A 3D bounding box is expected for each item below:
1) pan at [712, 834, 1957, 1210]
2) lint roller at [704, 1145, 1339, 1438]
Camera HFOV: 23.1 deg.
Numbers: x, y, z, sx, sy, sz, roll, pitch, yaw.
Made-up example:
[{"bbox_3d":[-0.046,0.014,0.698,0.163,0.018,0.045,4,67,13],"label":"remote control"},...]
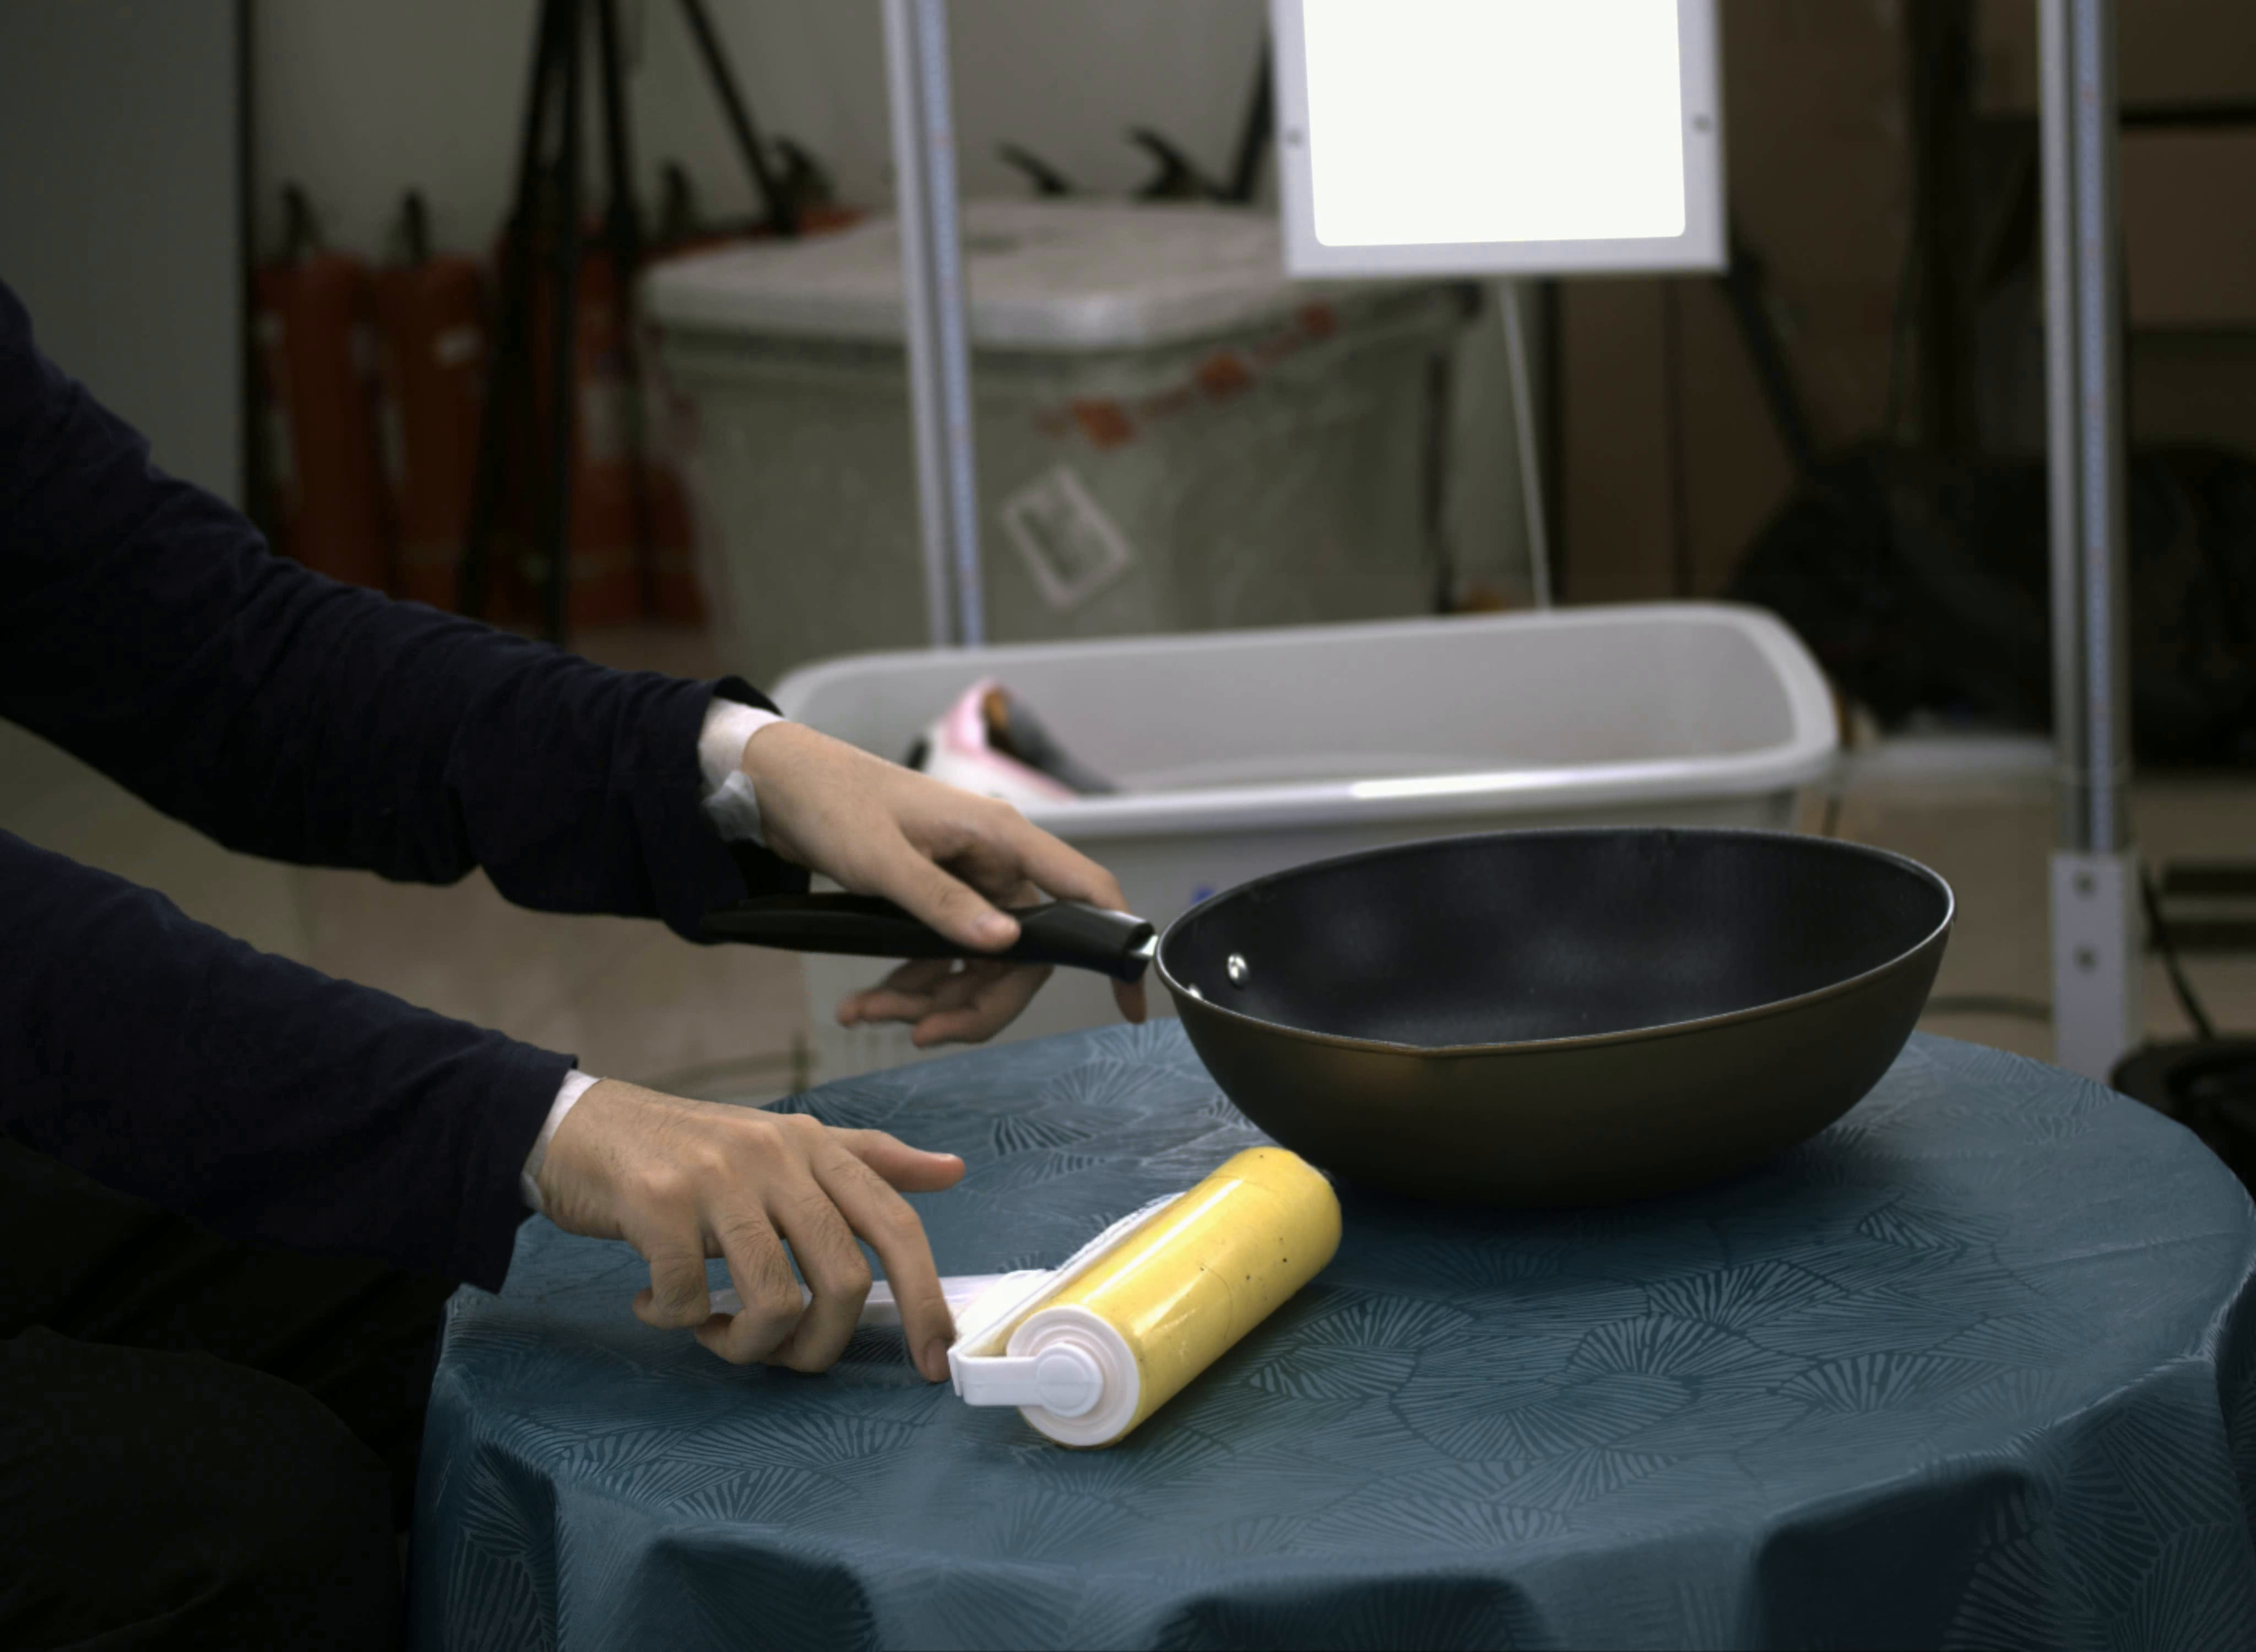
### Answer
[{"bbox_3d":[0.064,0.070,1.937,0.470,0.087,0.282,0,14,24],"label":"pan"},{"bbox_3d":[-0.049,0.145,1.748,0.195,0.051,0.171,1,14,25],"label":"lint roller"}]
